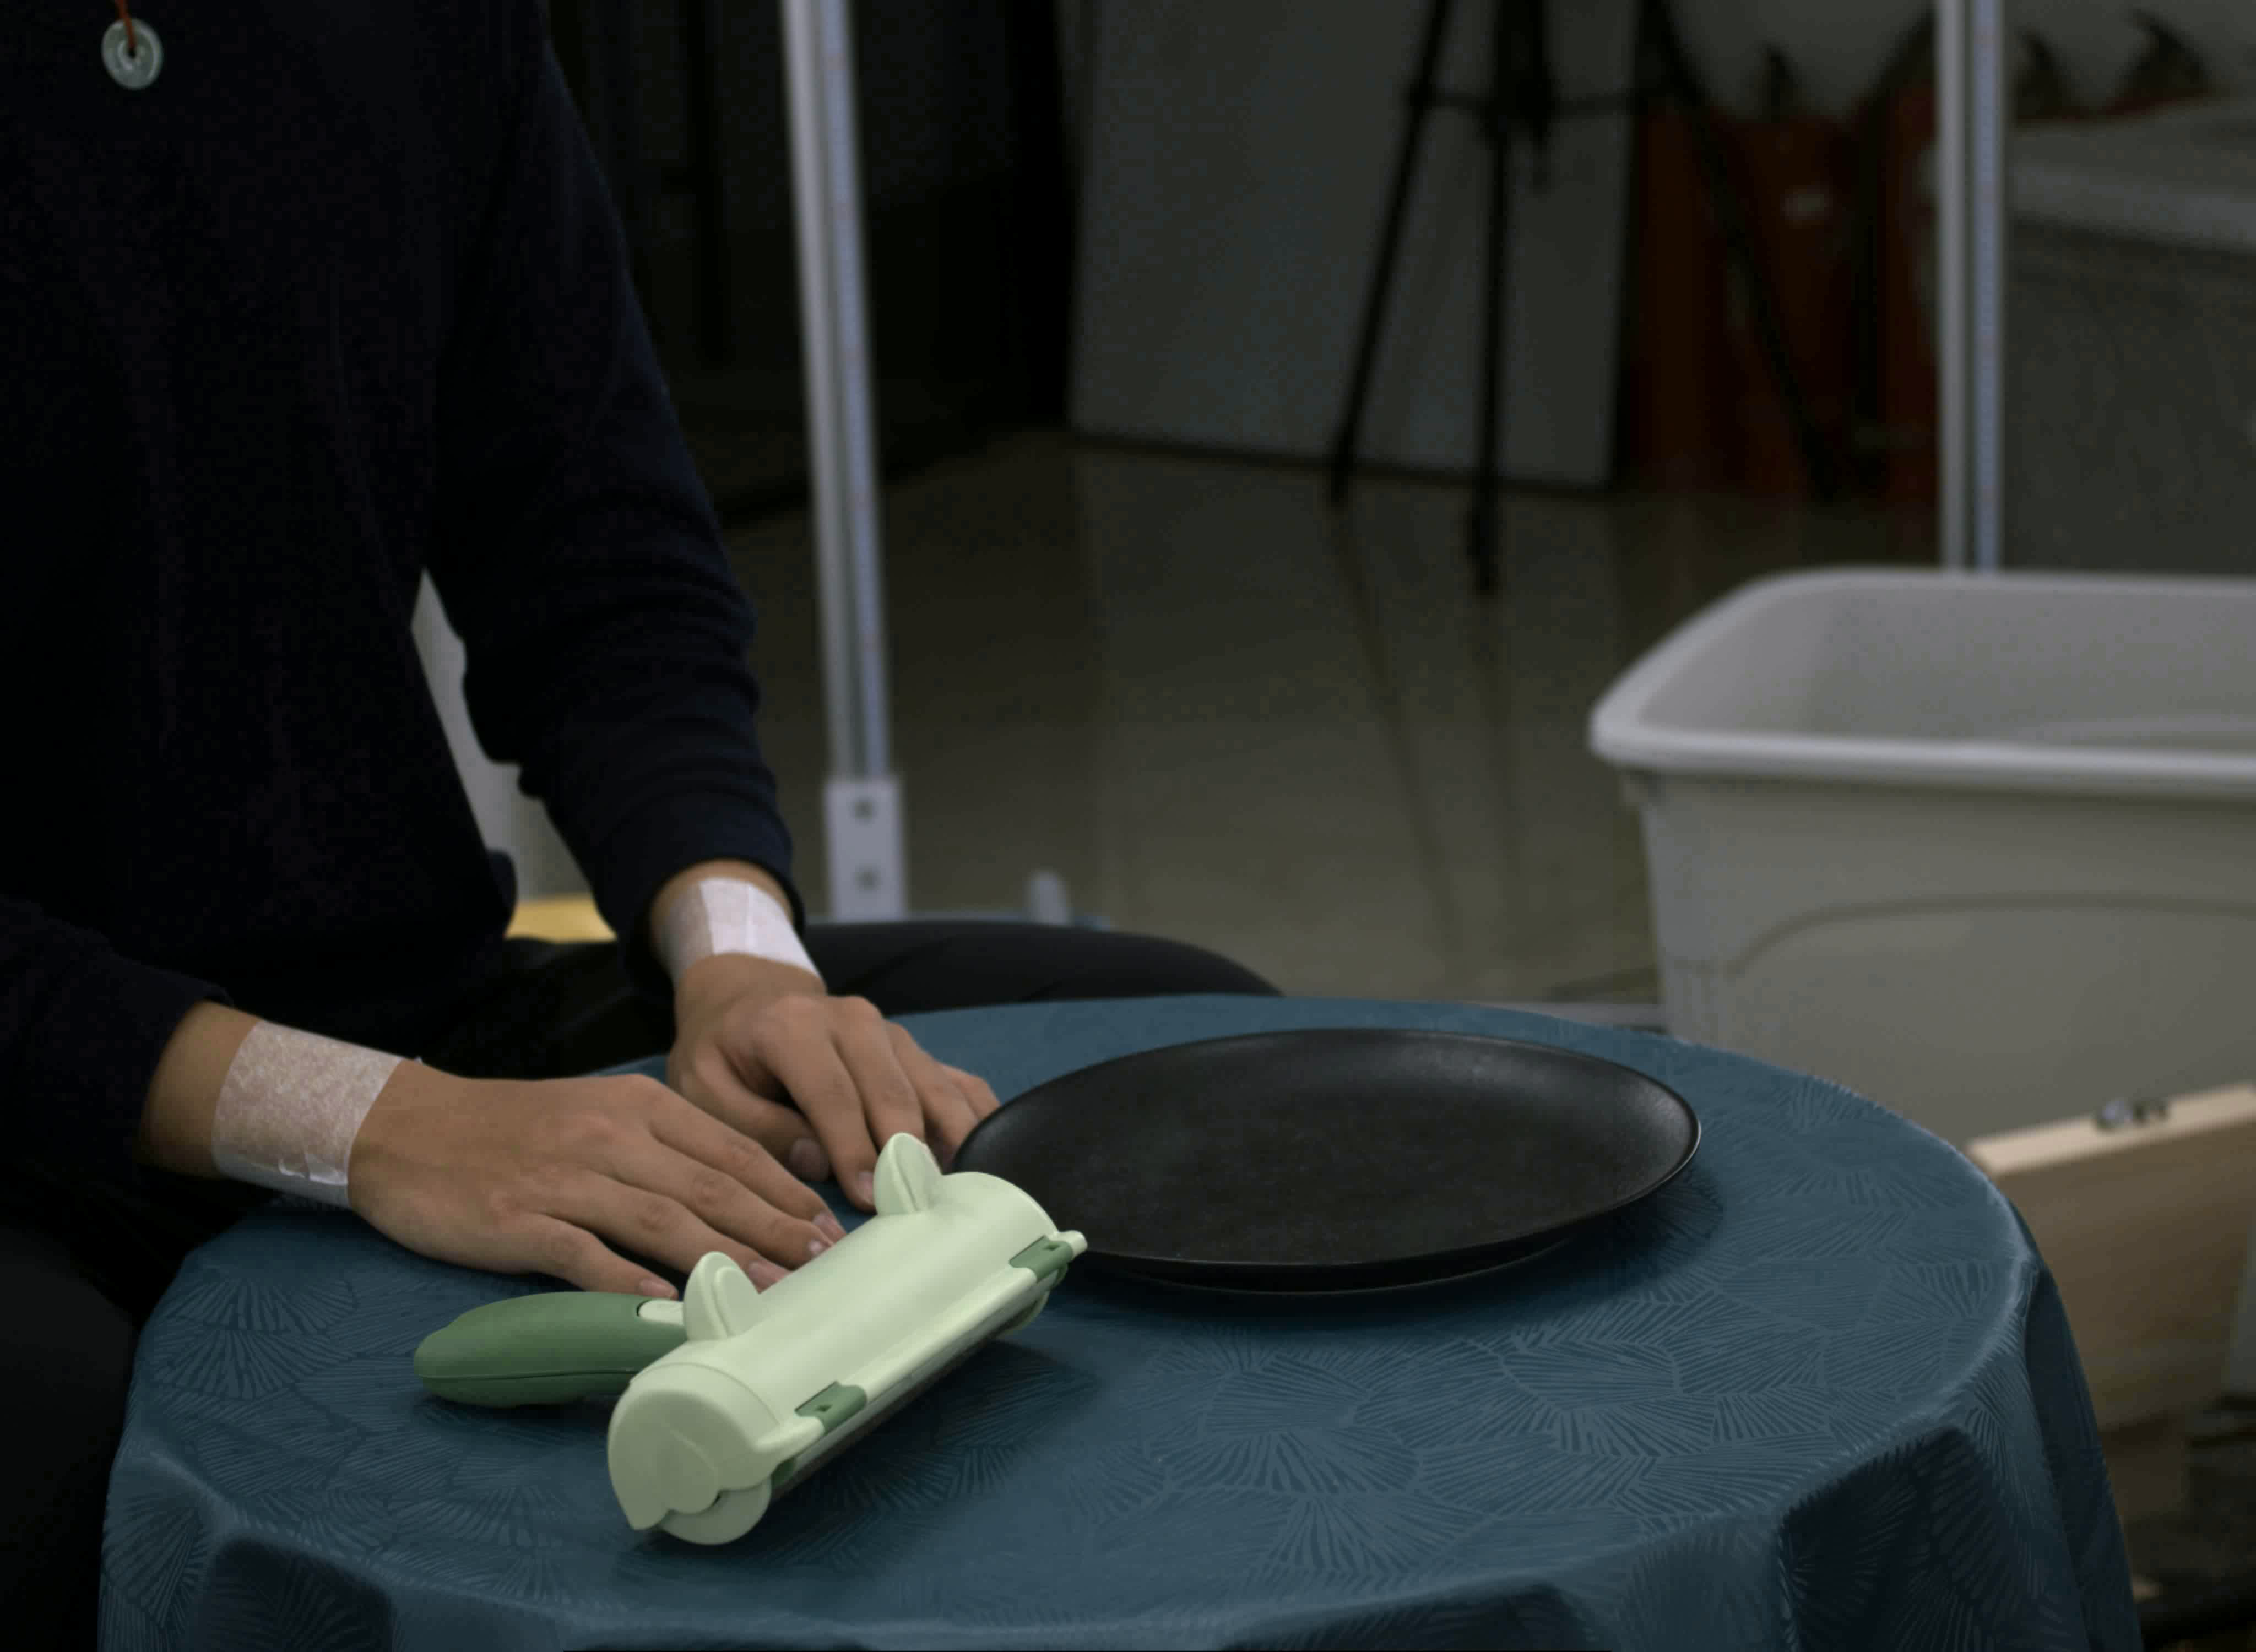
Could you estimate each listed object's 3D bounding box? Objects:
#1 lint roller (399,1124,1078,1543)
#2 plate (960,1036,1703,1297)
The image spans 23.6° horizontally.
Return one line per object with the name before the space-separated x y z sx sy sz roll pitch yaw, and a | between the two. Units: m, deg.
lint roller | -0.133 0.135 1.575 0.183 0.083 0.196 9 17 23
plate | 0.066 0.111 1.741 0.241 0.024 0.245 -4 14 0
